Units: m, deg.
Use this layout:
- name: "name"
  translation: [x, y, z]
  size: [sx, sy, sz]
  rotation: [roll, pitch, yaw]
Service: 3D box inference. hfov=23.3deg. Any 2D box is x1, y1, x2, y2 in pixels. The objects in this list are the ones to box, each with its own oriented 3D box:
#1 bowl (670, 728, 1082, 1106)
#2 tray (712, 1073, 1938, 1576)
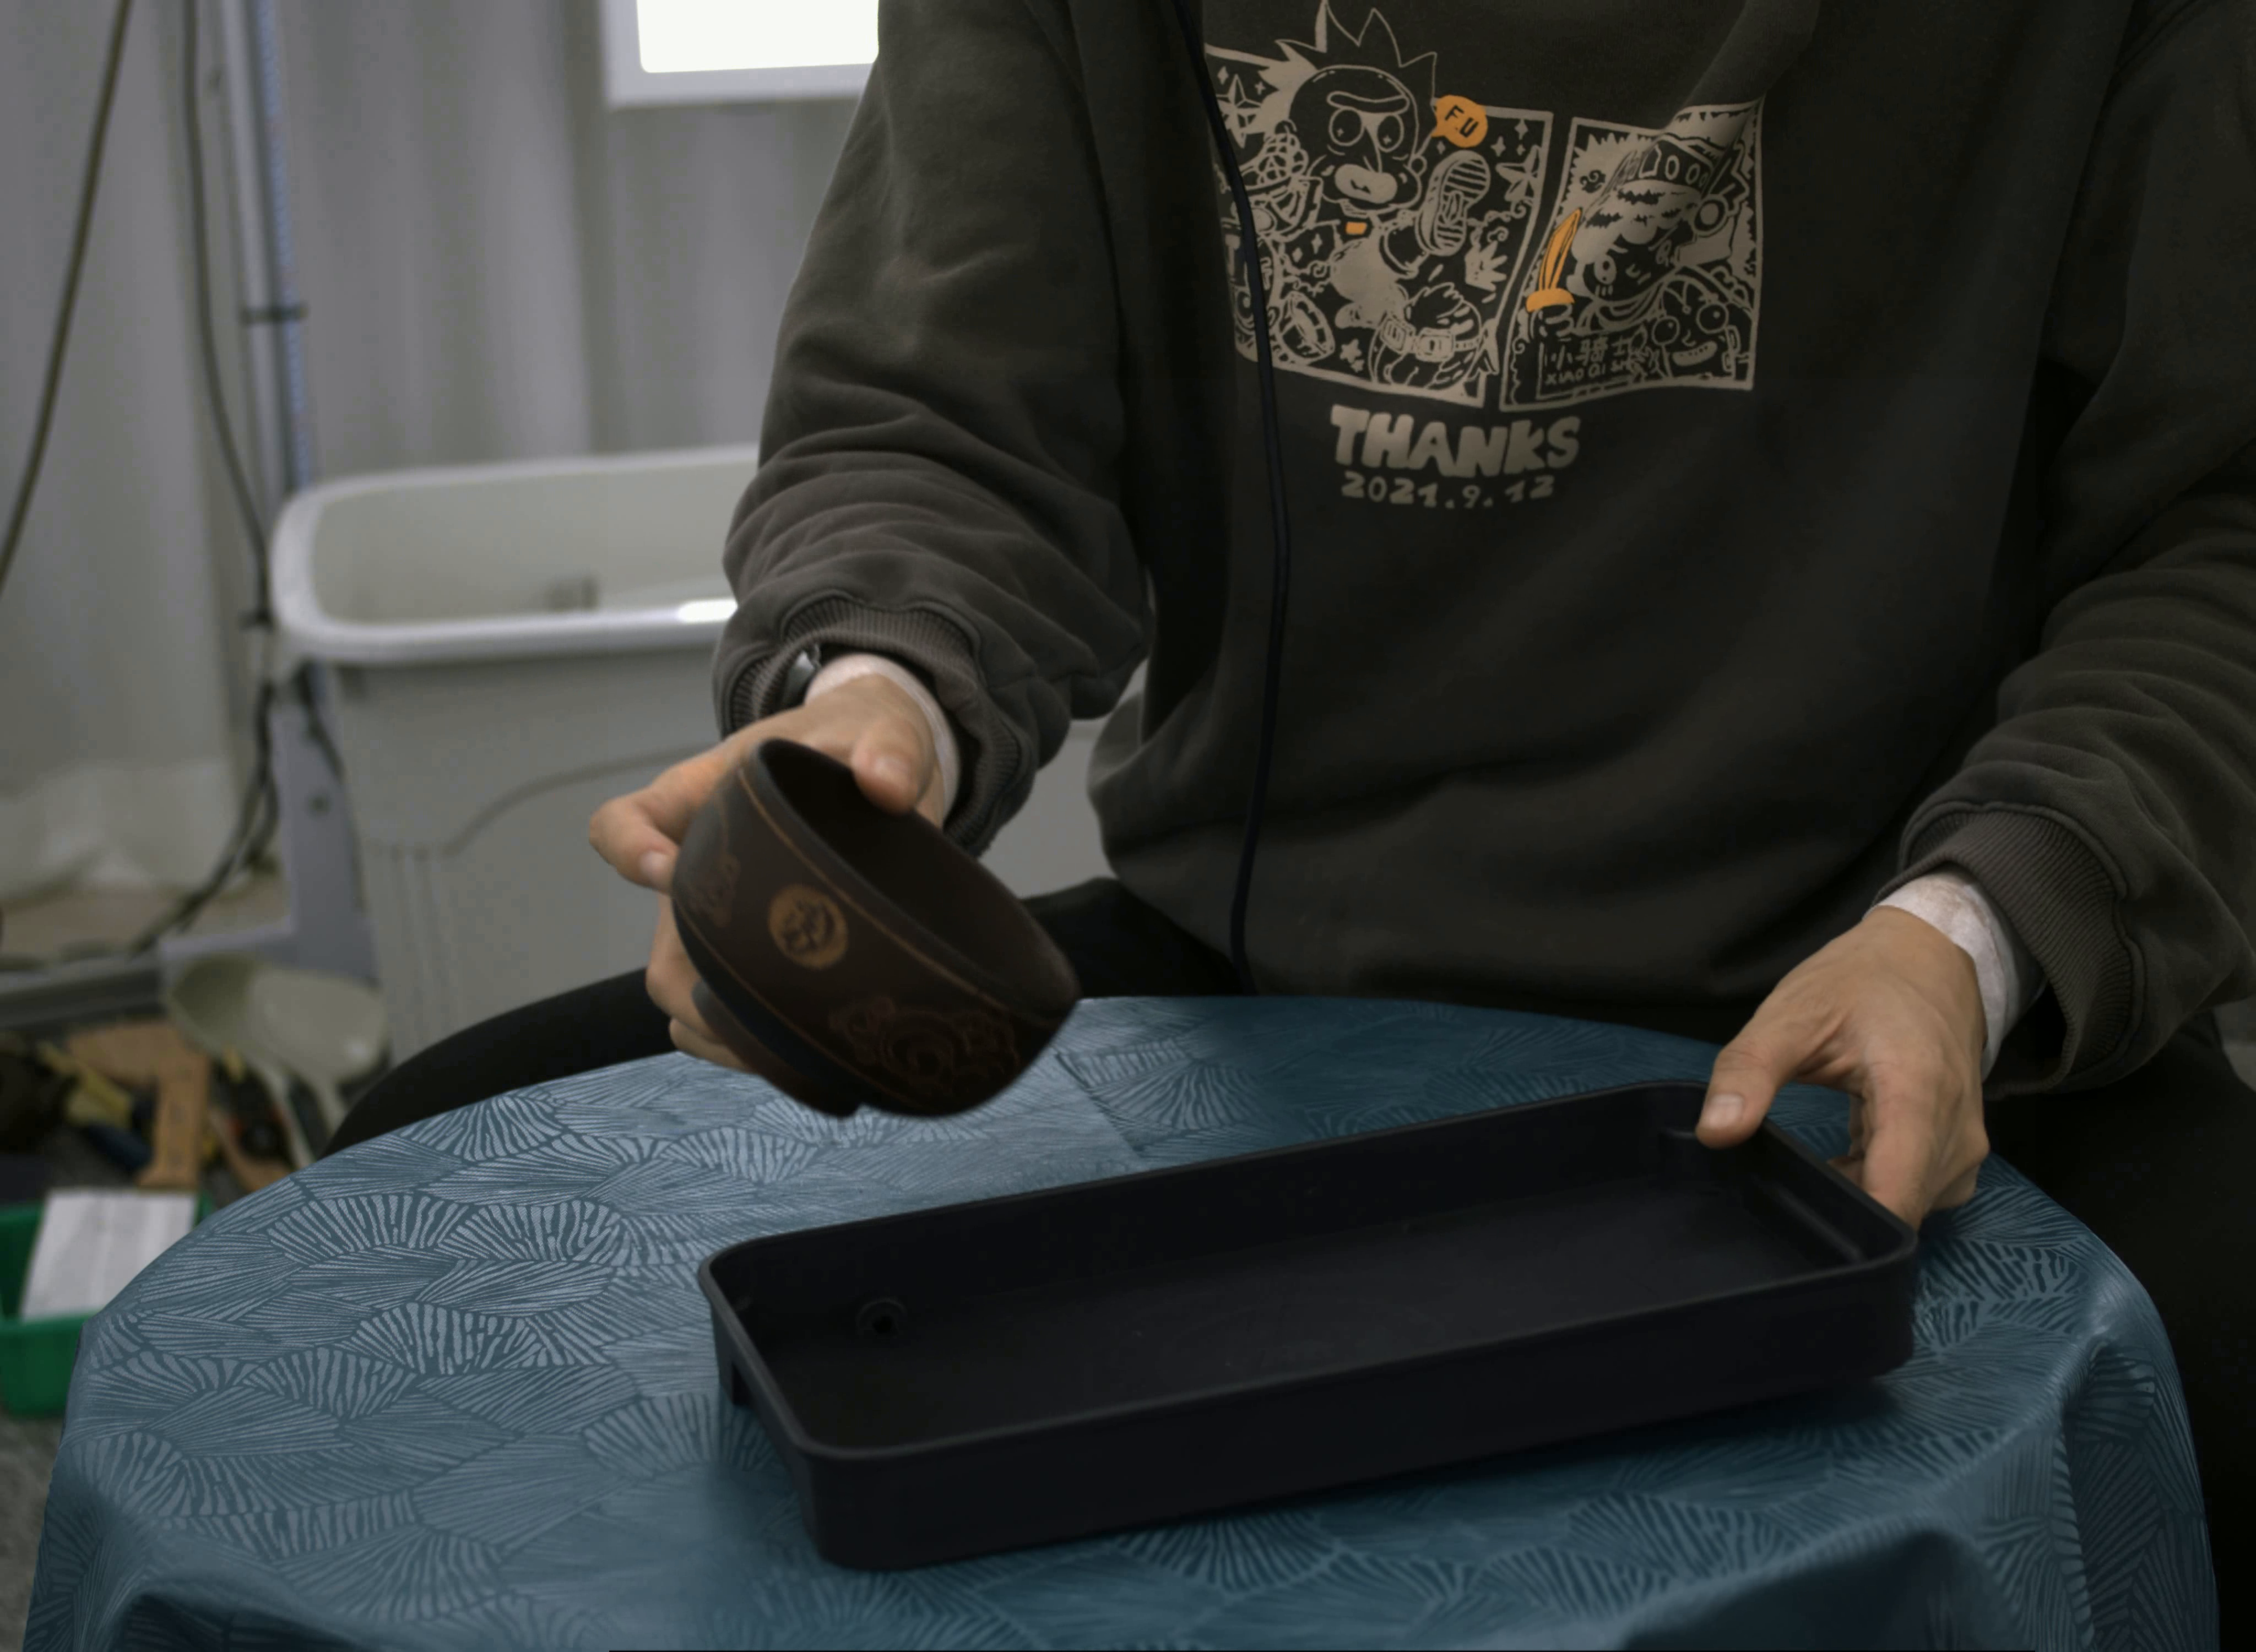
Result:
- name: "bowl"
  translation: [-0.079, 0.034, 1.531]
  size: [0.117, 0.070, 0.118]
  rotation: [37, 9, -7]
- name: "tray"
  translation: [0.053, 0.136, 1.541]
  size: [0.317, 0.037, 0.186]
  rotation: [-10, 16, -15]
